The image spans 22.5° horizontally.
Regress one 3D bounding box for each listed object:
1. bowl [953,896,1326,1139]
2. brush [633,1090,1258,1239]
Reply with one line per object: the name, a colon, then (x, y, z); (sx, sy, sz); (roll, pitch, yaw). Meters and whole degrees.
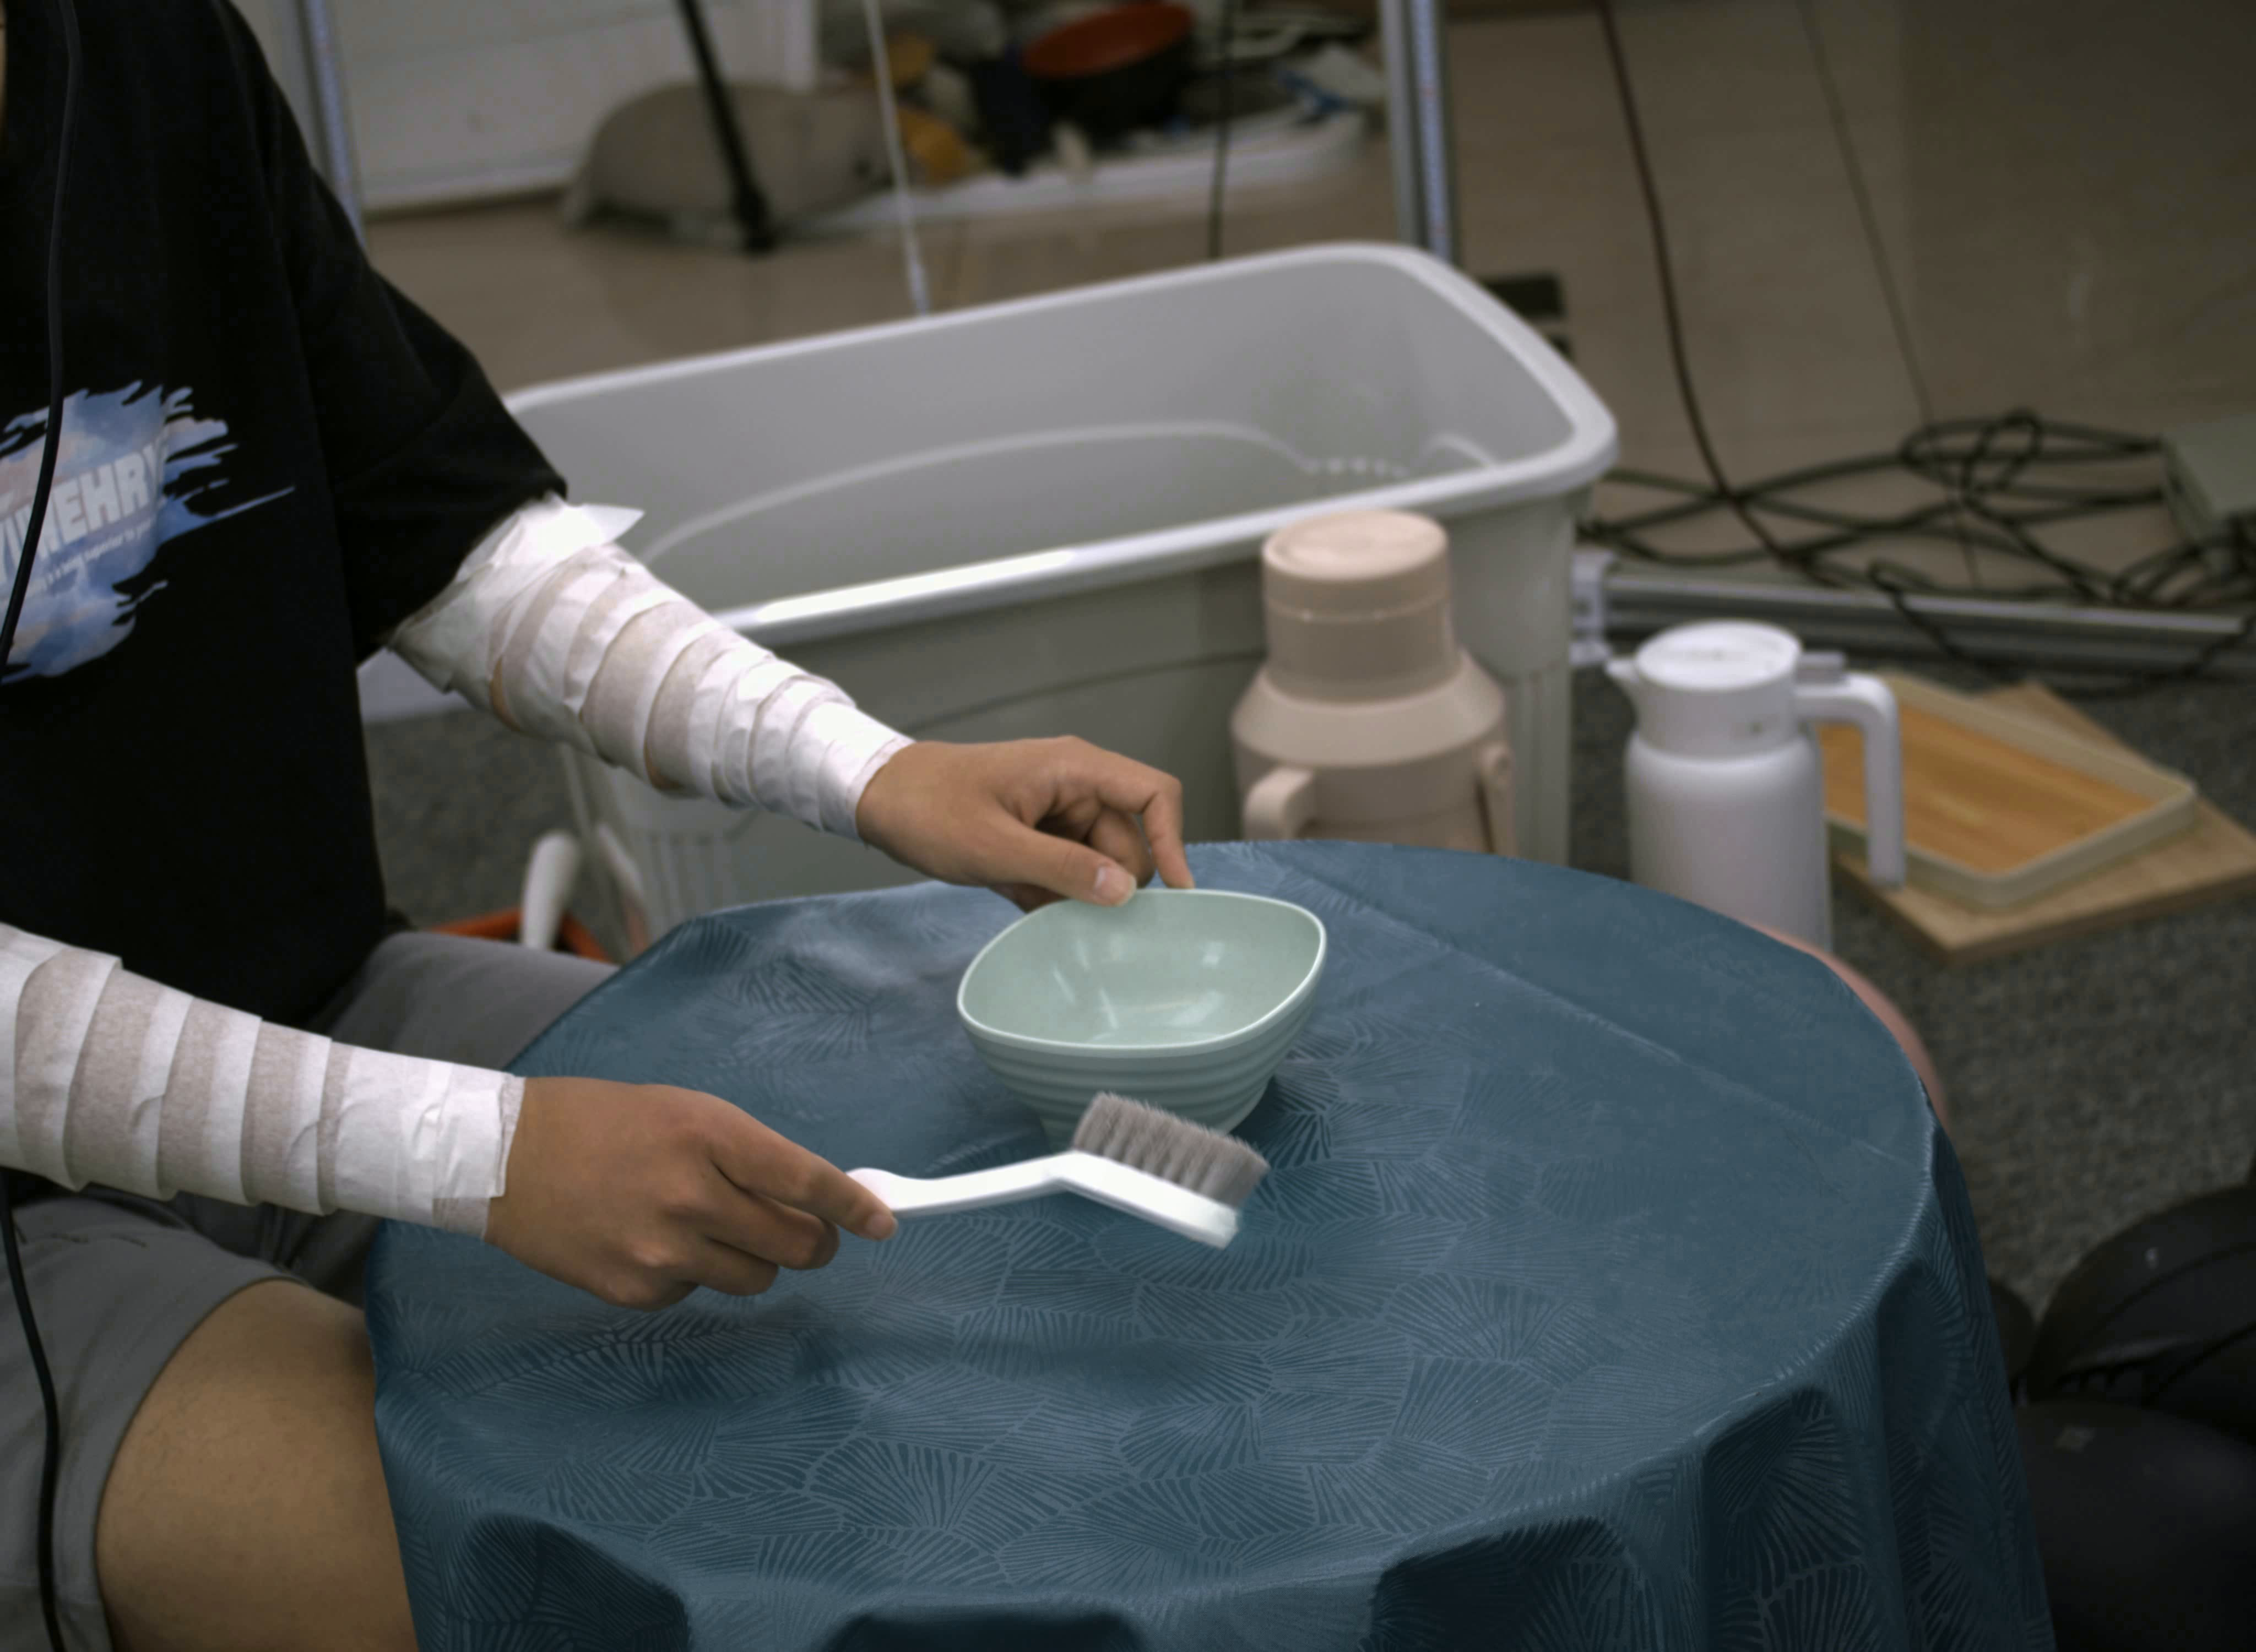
bowl: (0.007, 0.081, 2.203); (0.151, 0.059, 0.149); (-5, 23, 2)
brush: (-0.069, 0.121, 2.061); (0.243, 0.050, 0.035); (0, -16, 24)
